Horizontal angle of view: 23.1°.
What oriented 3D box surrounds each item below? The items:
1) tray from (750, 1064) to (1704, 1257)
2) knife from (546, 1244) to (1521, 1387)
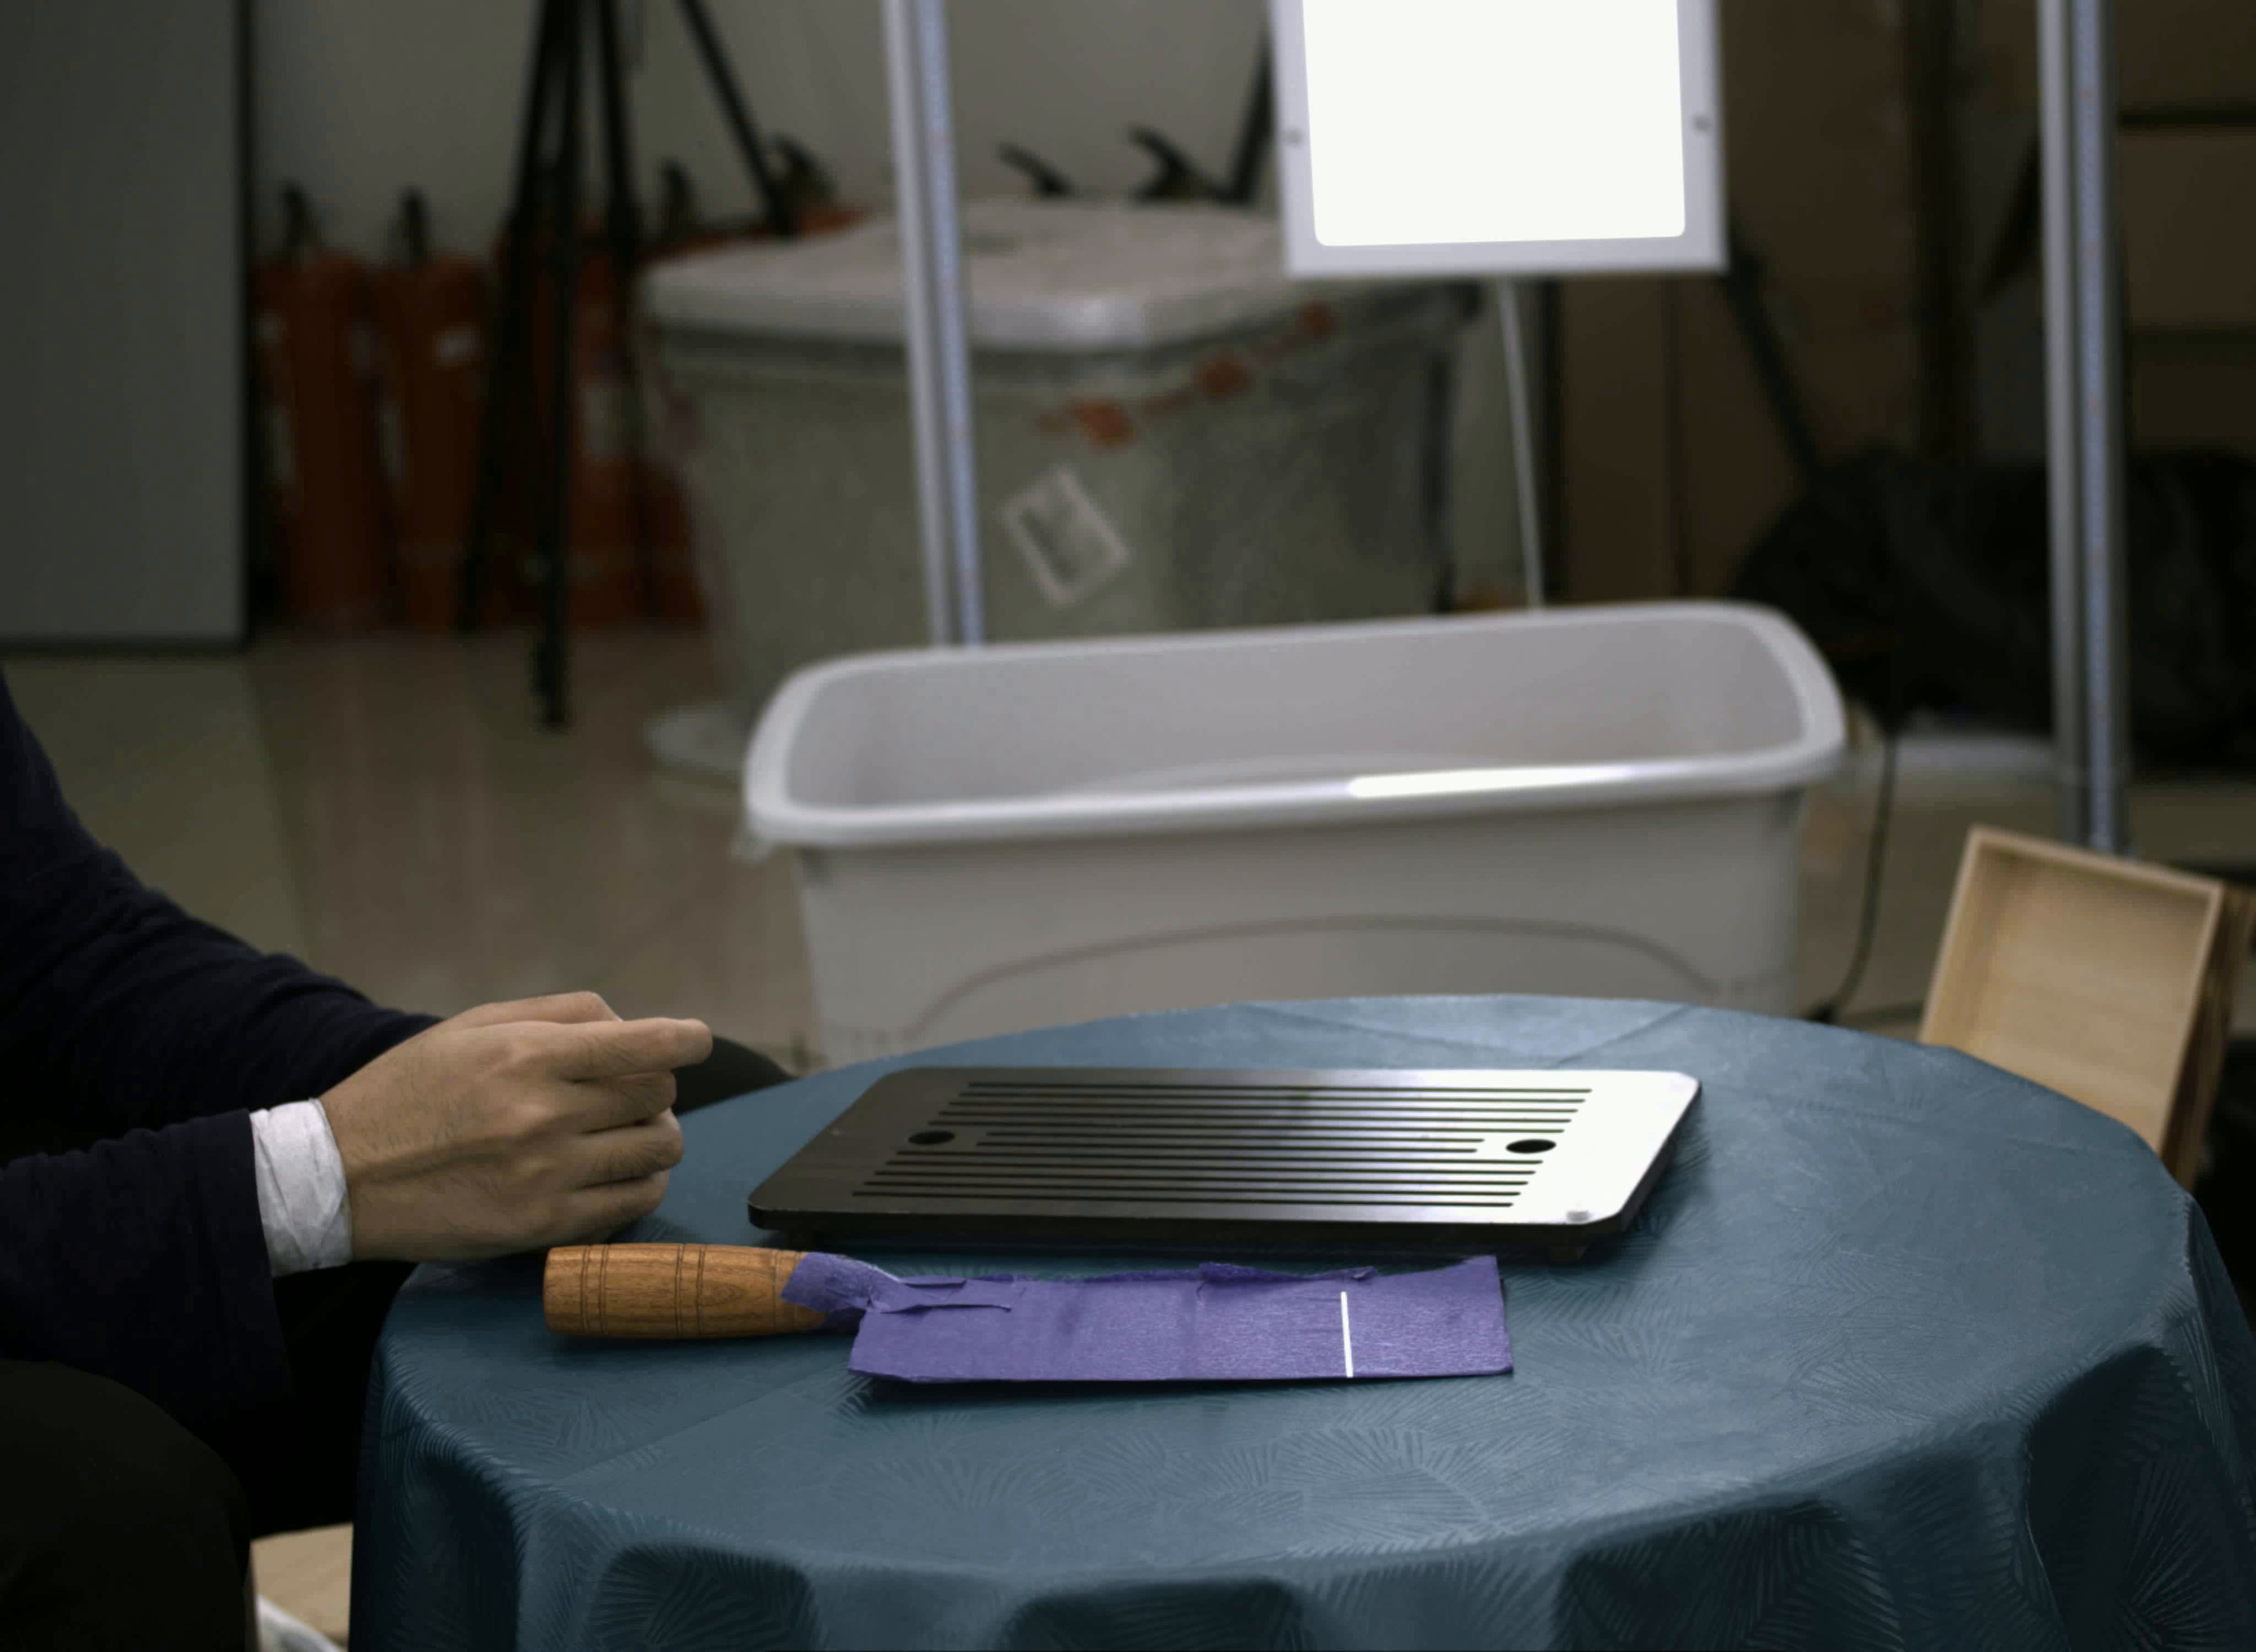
[{"bbox_3d":[0.037,0.114,1.901,0.310,0.019,0.167,-1,14,19],"label":"tray"},{"bbox_3d":[-0.033,0.154,1.745,0.316,0.032,0.103,-3,13,6],"label":"knife"}]
